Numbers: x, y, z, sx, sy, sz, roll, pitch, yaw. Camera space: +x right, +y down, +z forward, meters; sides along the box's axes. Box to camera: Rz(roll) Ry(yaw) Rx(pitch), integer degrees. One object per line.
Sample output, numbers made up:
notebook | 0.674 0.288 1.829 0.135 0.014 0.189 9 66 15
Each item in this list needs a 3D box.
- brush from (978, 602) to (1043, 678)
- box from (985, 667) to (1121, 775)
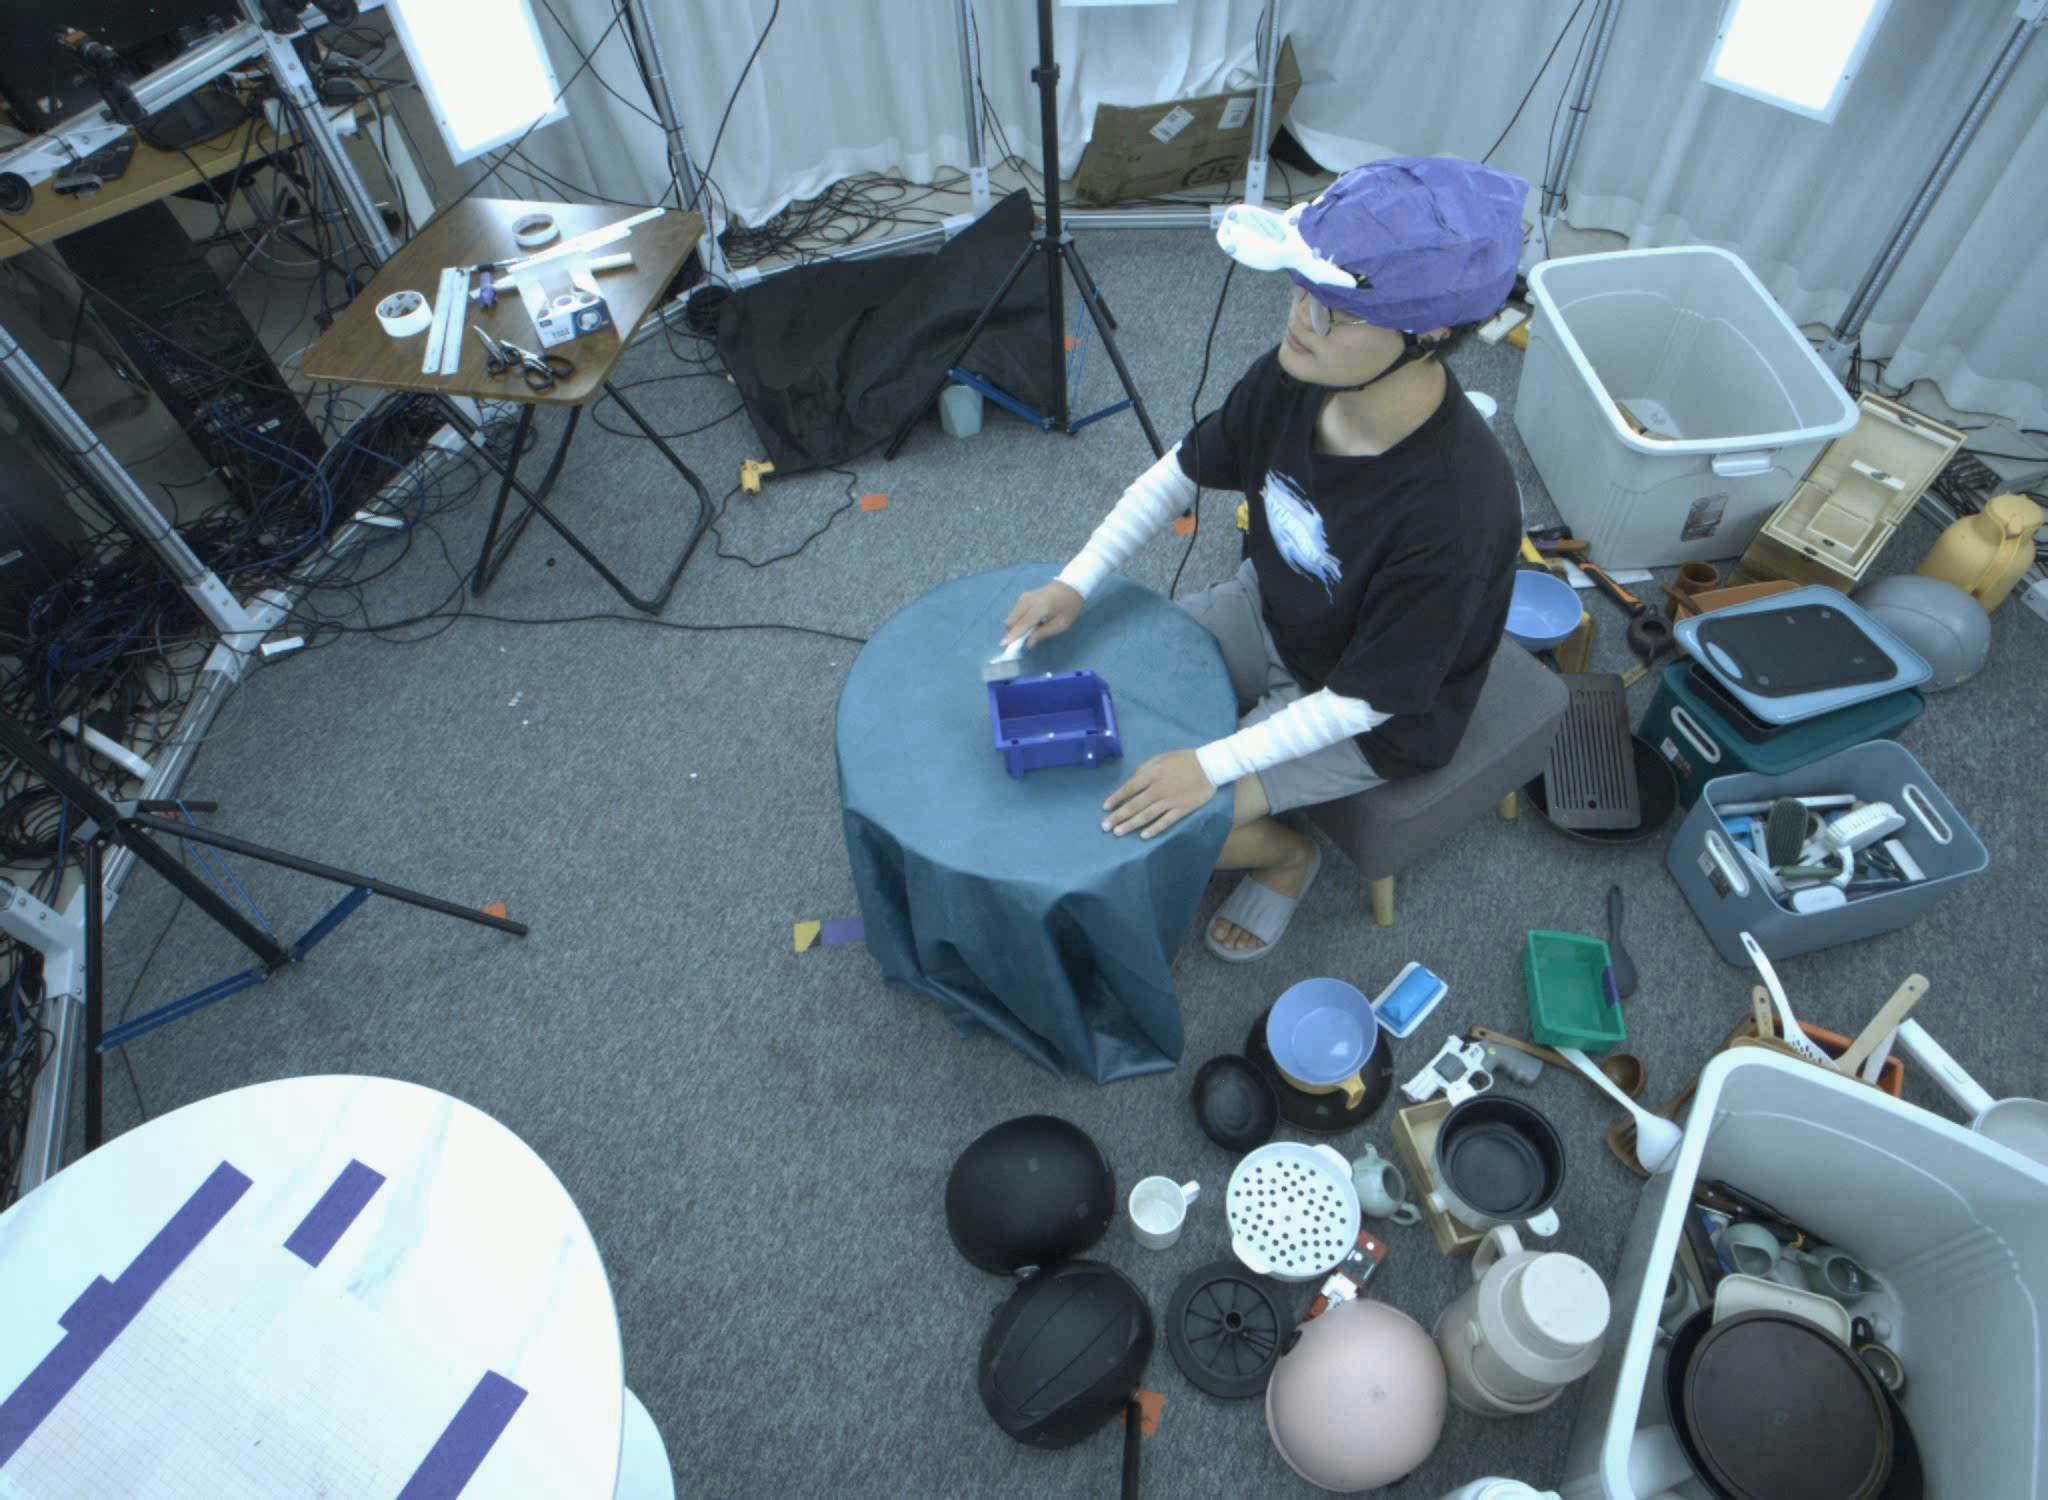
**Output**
brush | -0.011 -0.161 1.820 0.034 0.051 0.244 -10 21 24
box | 0.041 -0.044 1.758 0.179 0.083 0.123 -7 54 -1
